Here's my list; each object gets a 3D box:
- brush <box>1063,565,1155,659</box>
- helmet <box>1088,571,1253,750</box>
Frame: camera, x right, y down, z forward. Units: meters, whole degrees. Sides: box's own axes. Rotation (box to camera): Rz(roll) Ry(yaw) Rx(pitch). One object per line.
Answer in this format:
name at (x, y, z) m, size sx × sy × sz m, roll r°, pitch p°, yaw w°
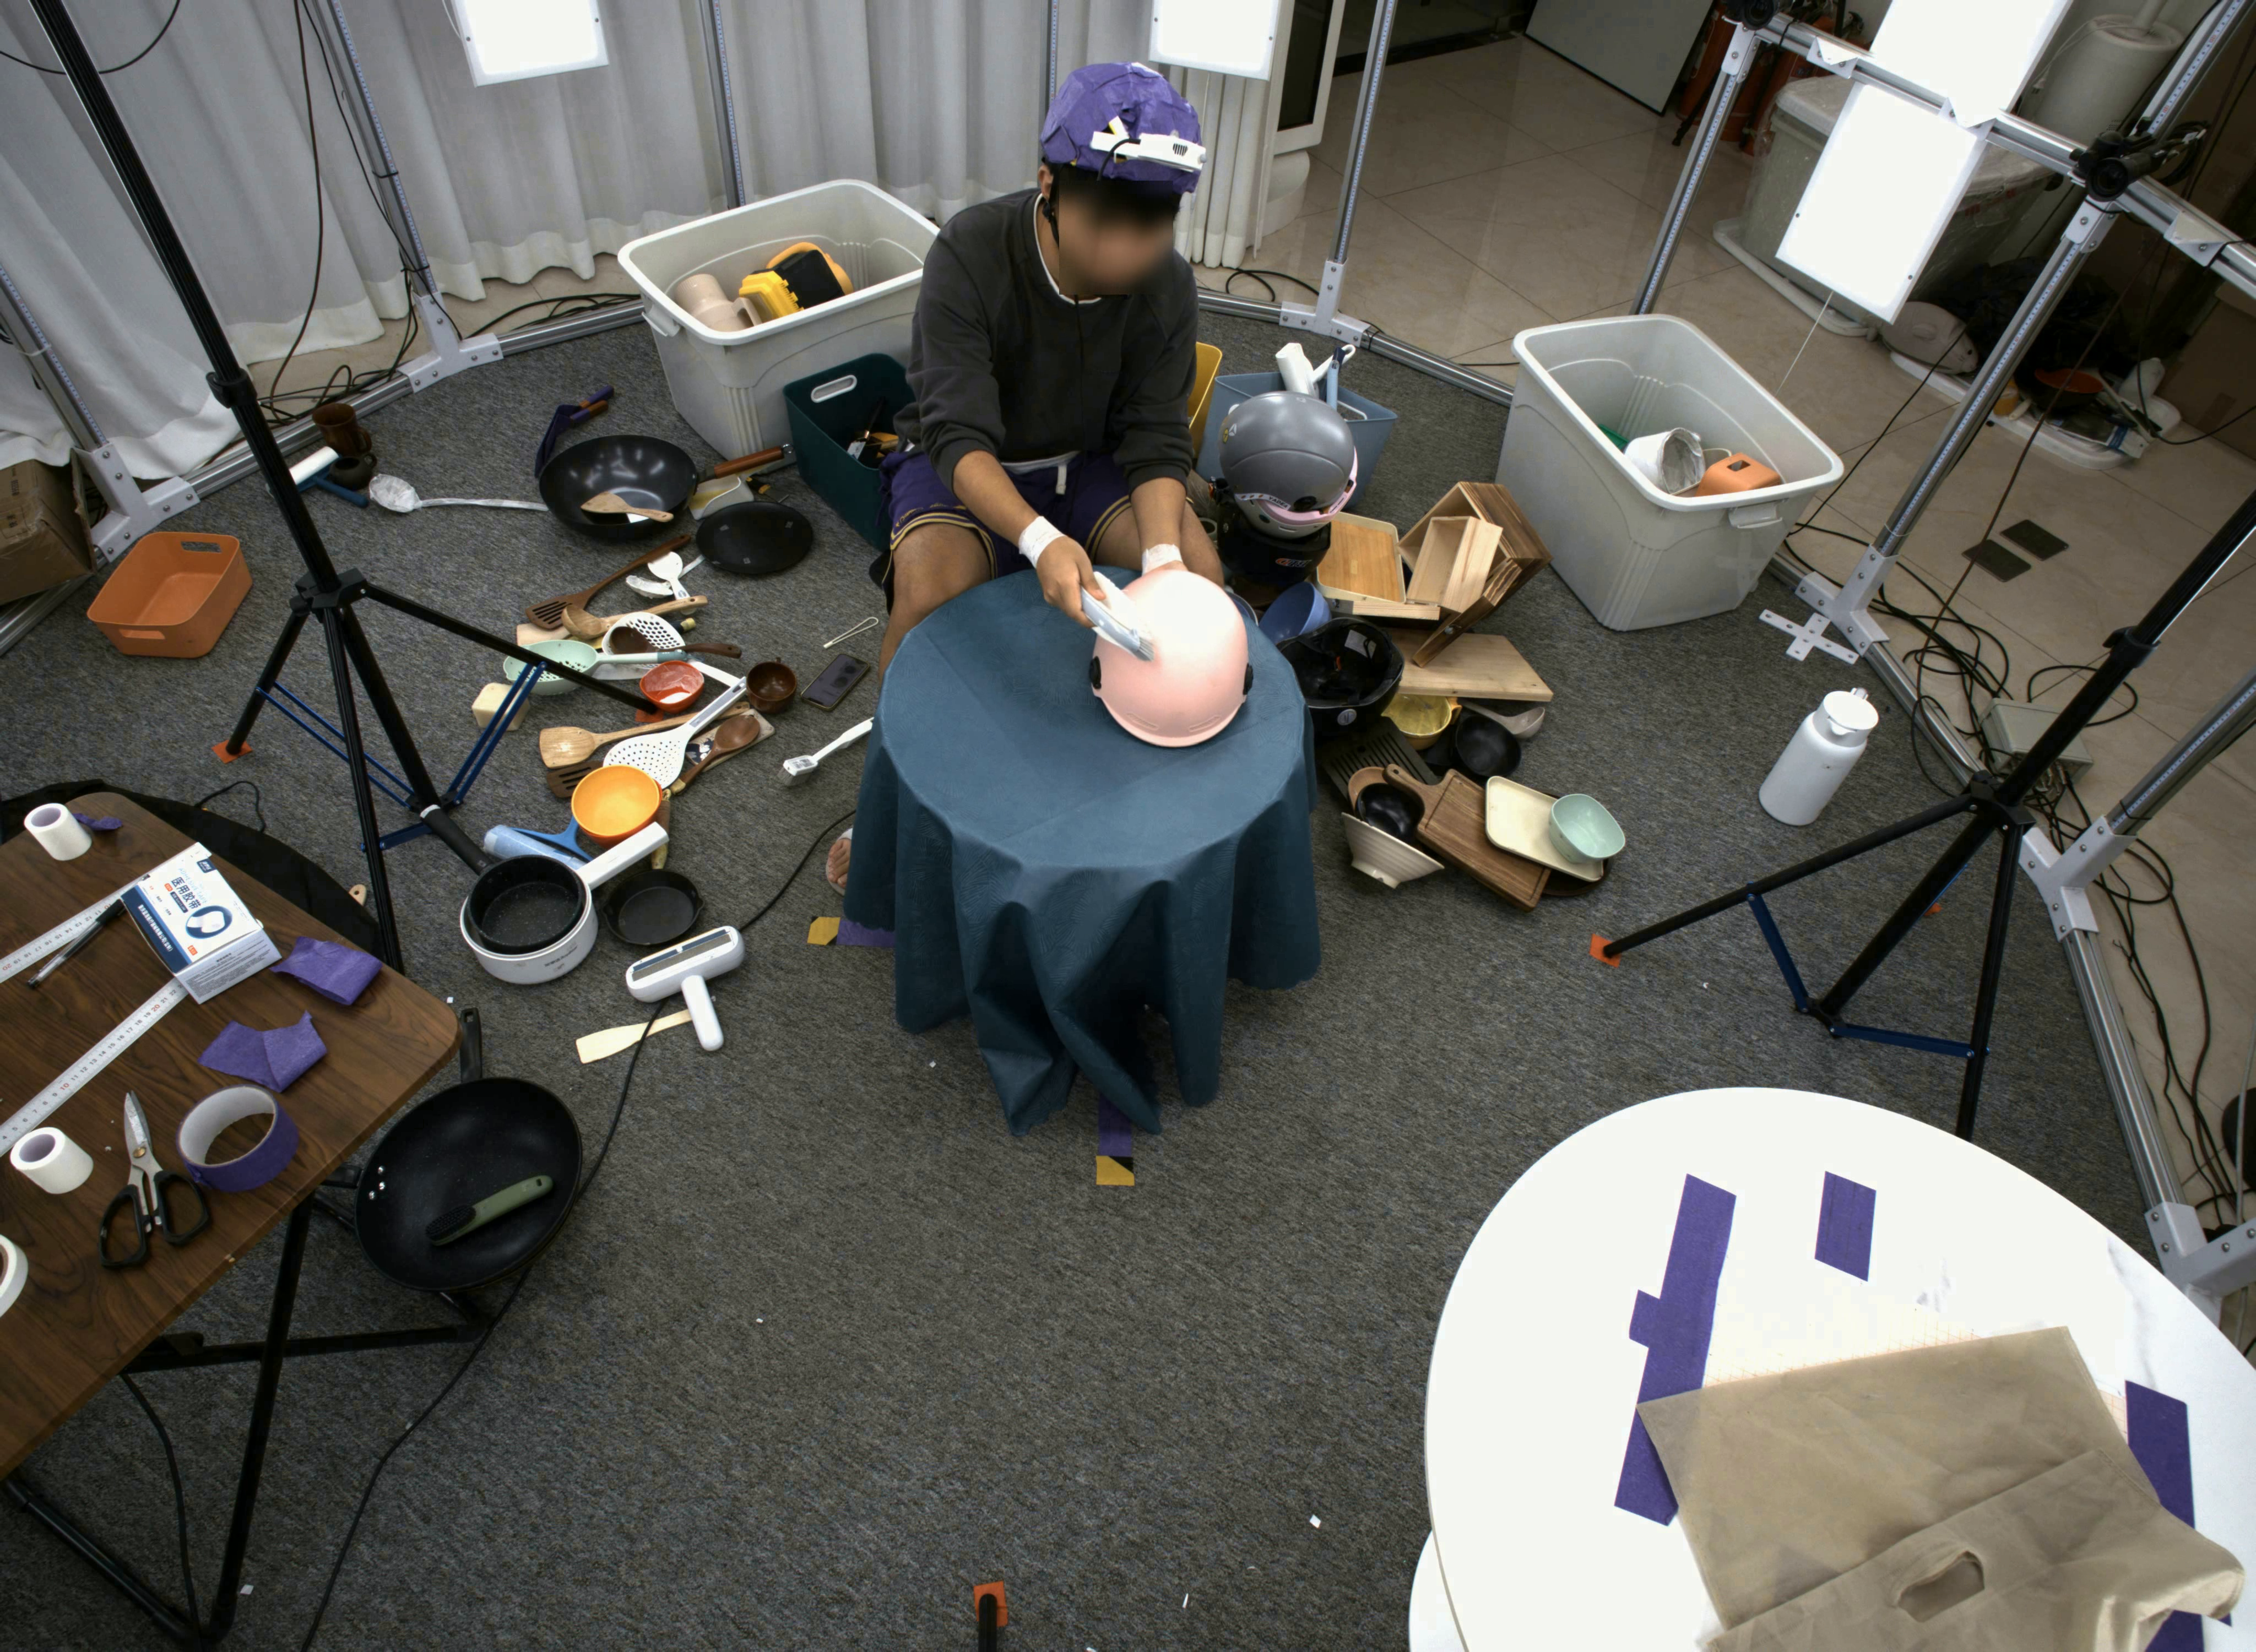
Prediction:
brush at (-0.029, -0.287, 1.704) m, size 0.093 × 0.061 × 0.179 m, roll 20°, pitch 27°, yaw -45°
helmet at (0.063, -0.252, 1.793) m, size 0.234 × 0.155 × 0.272 m, roll 2°, pitch 53°, yaw -3°
